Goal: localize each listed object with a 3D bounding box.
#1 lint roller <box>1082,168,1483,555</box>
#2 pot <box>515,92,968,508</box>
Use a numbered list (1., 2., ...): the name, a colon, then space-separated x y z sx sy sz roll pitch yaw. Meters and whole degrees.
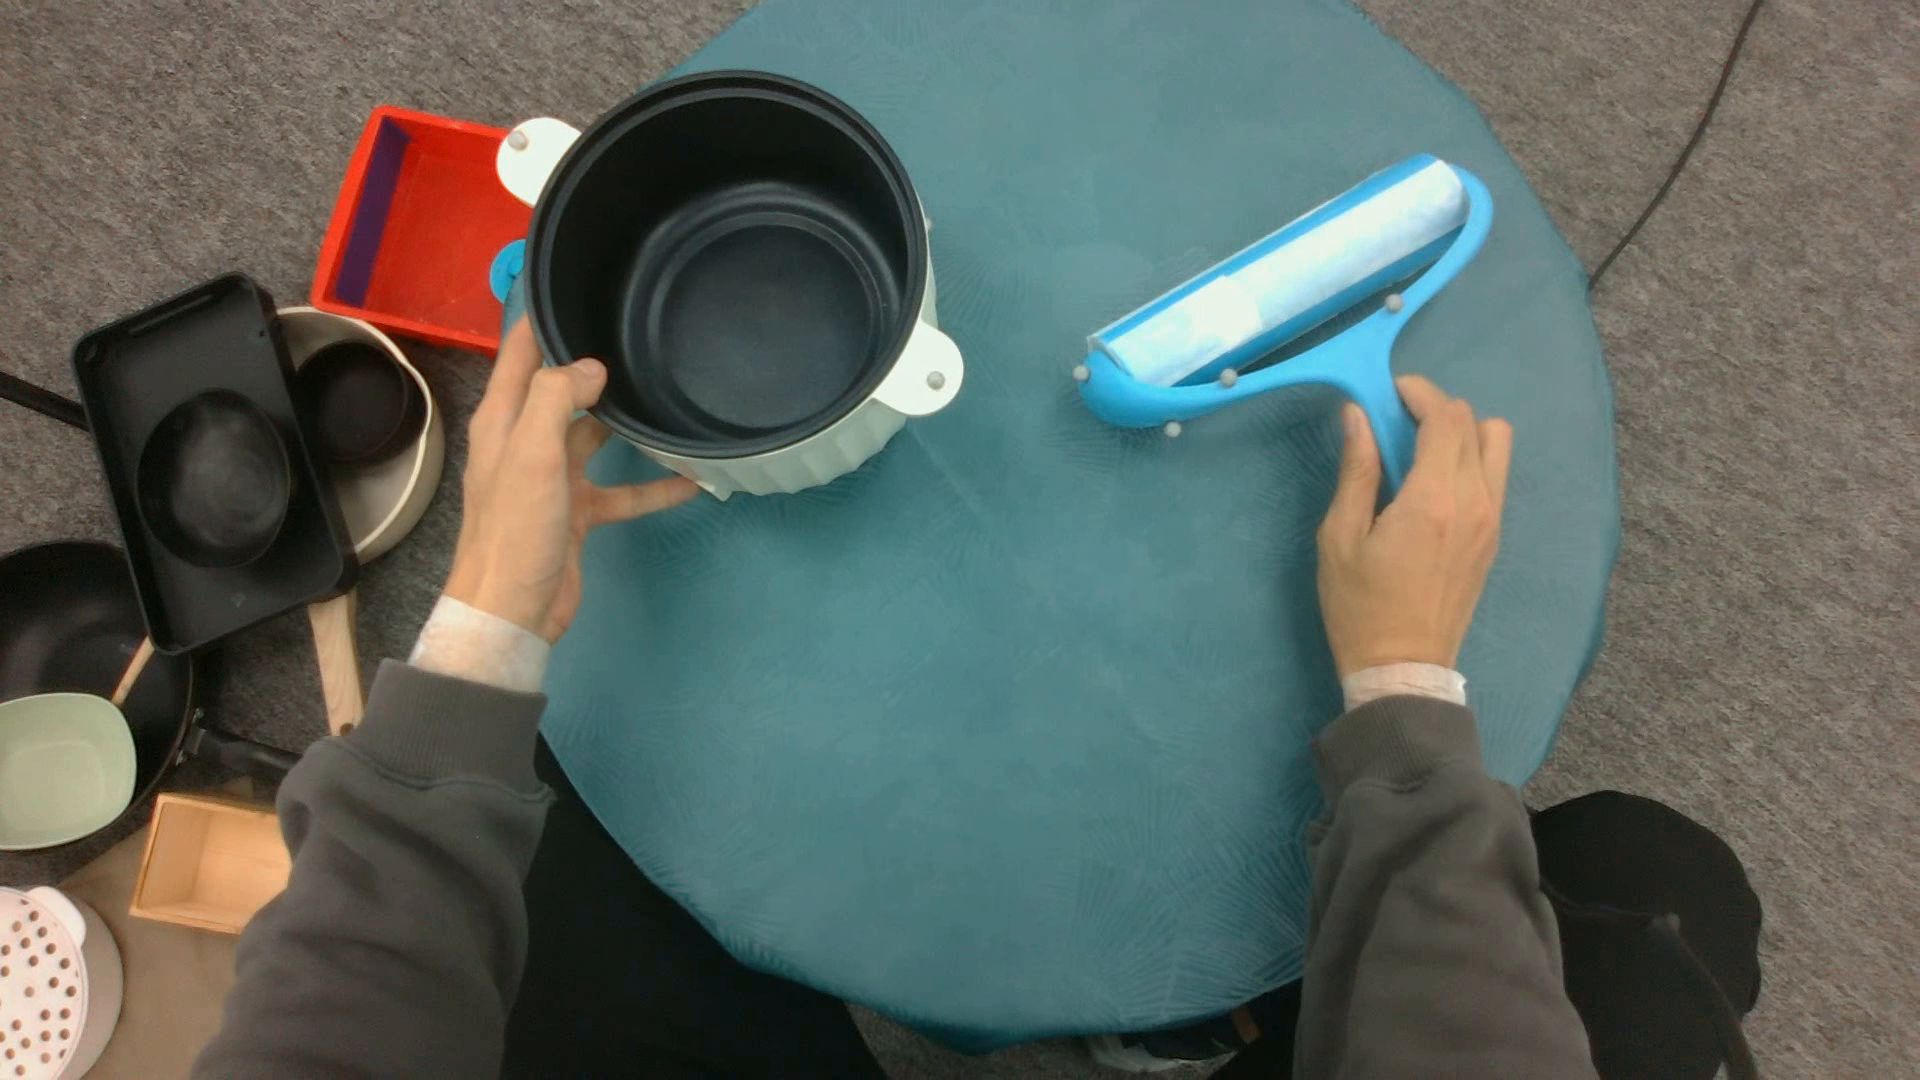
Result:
1. lint roller: 0.196 -0.077 0.698 0.229 0.068 0.180 -32 71 -6
2. pot: -0.096 -0.116 0.694 0.240 0.142 0.190 29 87 7
